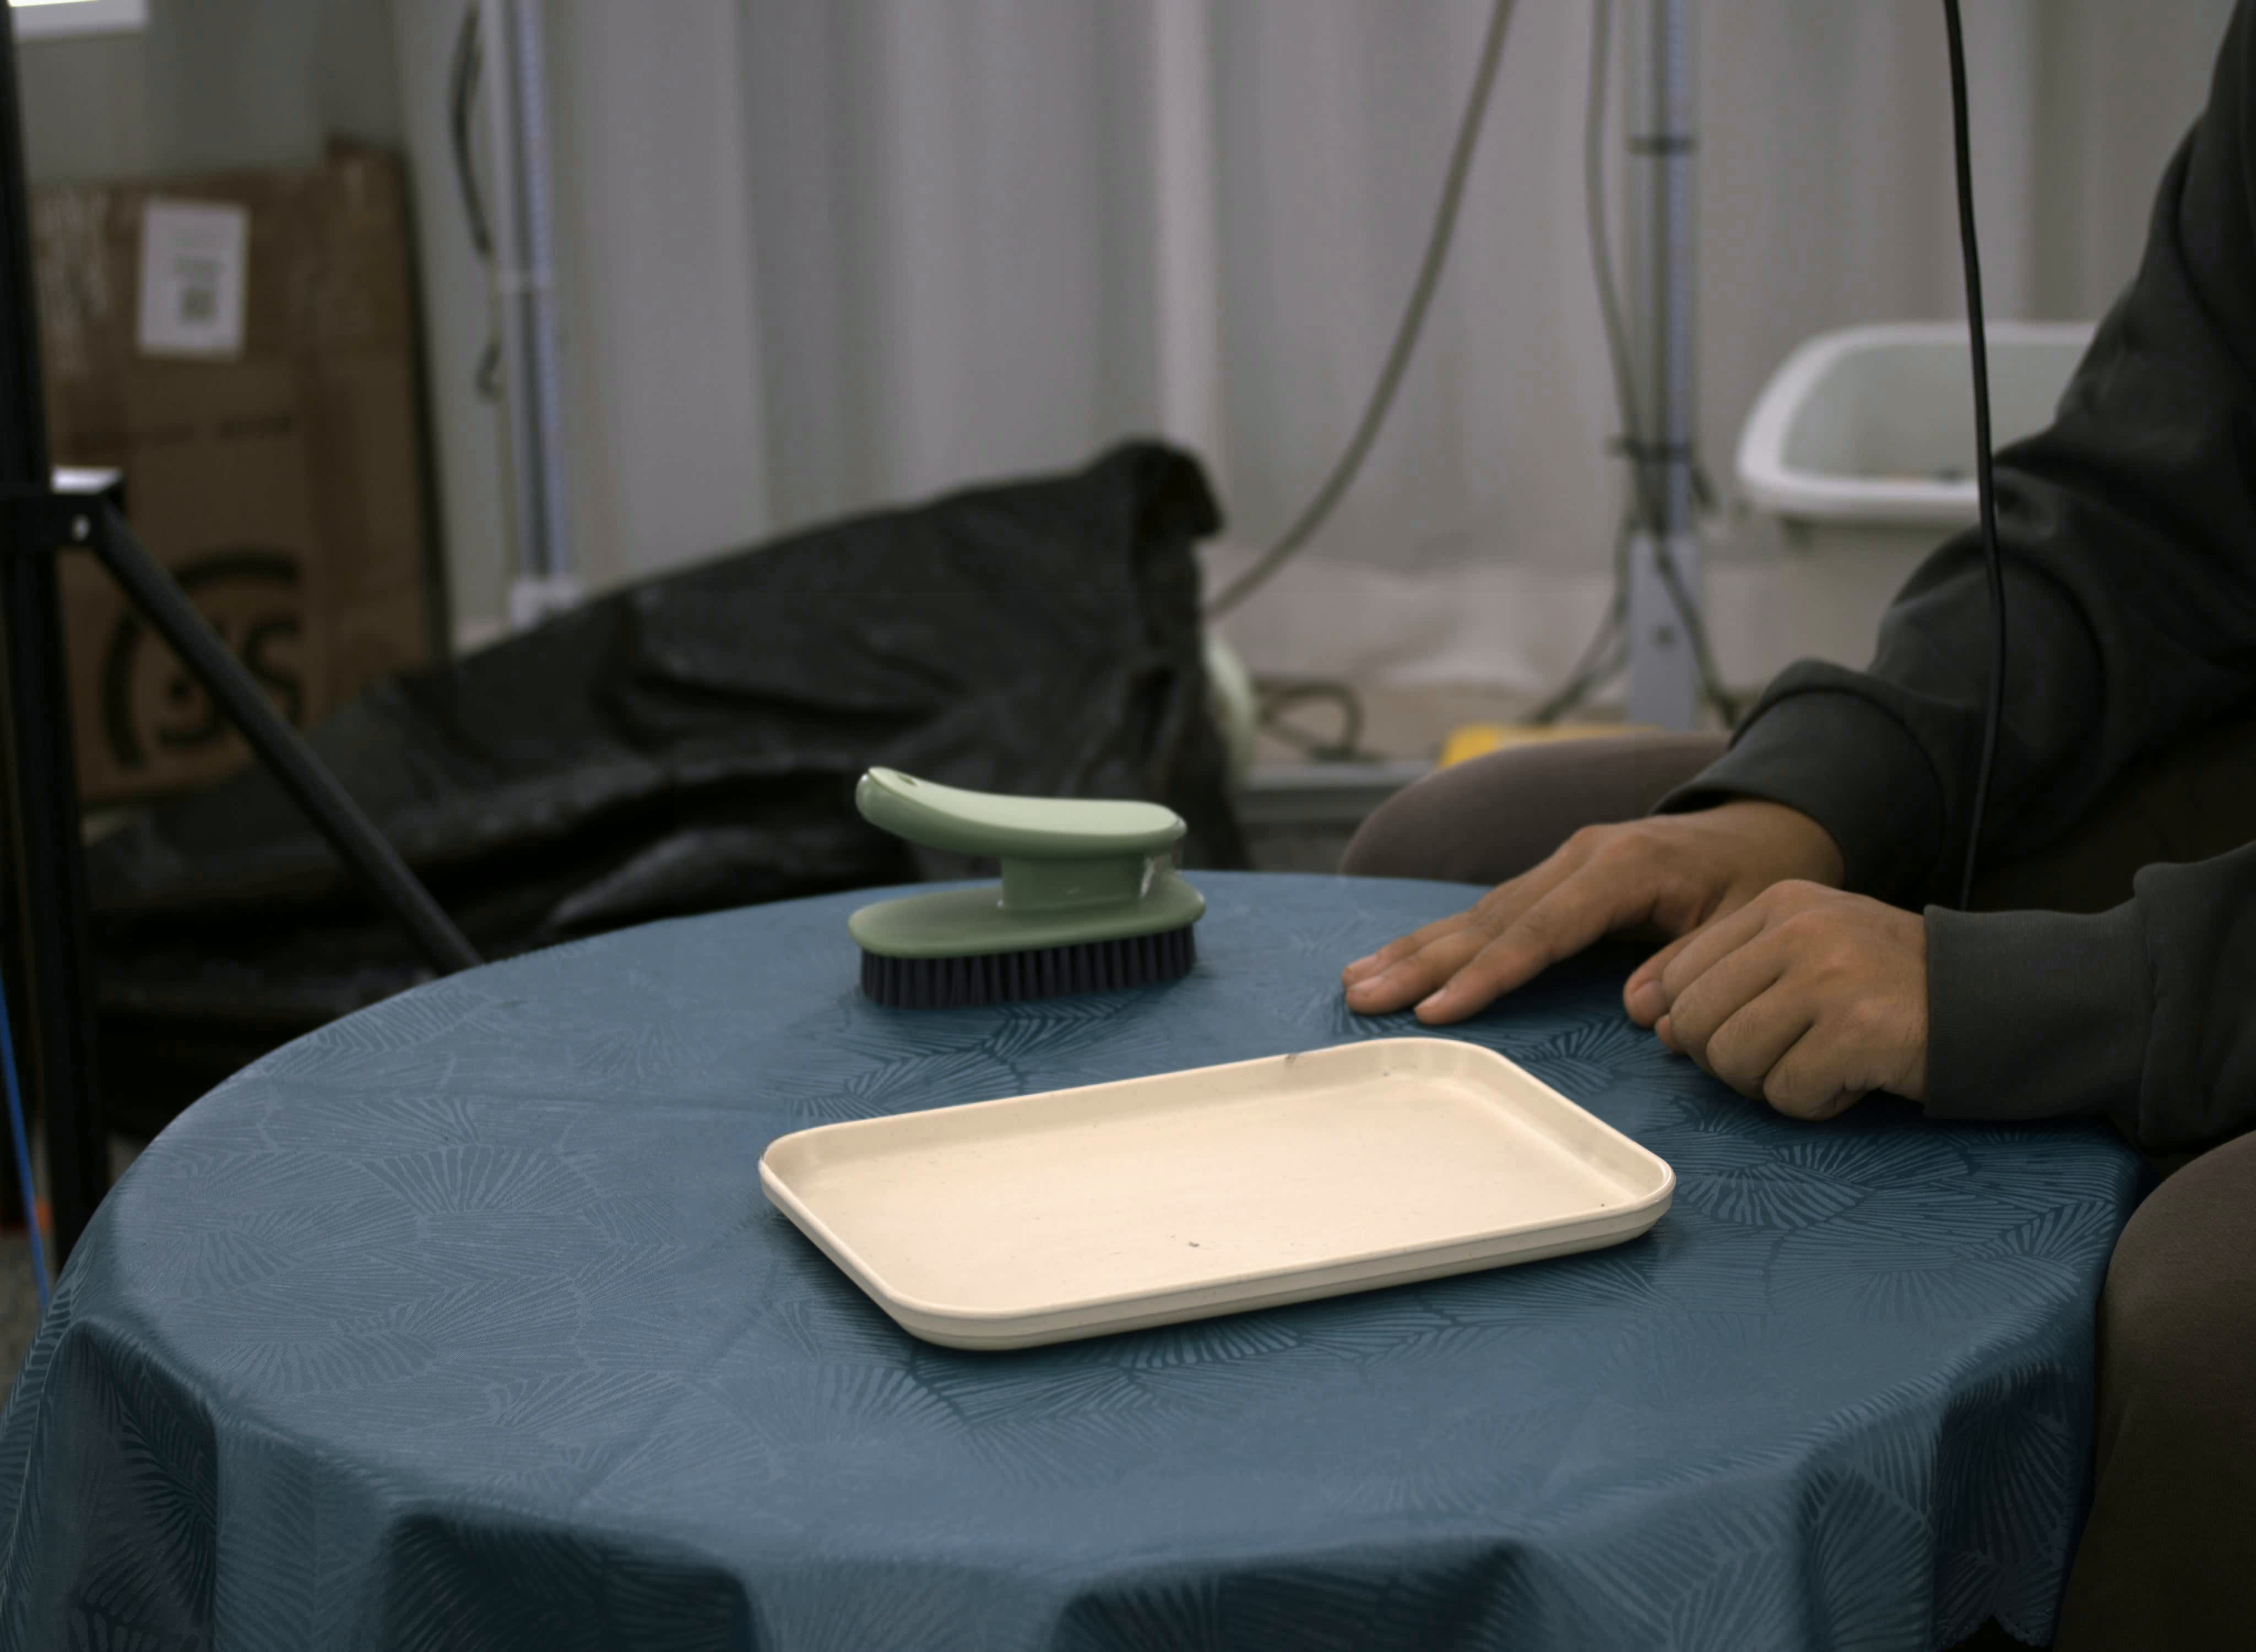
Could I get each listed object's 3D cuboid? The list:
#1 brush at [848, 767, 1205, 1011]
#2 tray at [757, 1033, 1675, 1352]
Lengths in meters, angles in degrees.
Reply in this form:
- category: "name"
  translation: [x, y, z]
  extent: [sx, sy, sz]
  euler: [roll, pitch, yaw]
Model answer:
- category: "brush"
  translation: [-0.035, 0.025, 1.757]
  extent: [0.120, 0.076, 0.060]
  euler: [8, 12, -18]
- category: "tray"
  translation: [0.024, 0.105, 1.530]
  extent: [0.235, 0.017, 0.174]
  euler: [-8, 17, -19]
